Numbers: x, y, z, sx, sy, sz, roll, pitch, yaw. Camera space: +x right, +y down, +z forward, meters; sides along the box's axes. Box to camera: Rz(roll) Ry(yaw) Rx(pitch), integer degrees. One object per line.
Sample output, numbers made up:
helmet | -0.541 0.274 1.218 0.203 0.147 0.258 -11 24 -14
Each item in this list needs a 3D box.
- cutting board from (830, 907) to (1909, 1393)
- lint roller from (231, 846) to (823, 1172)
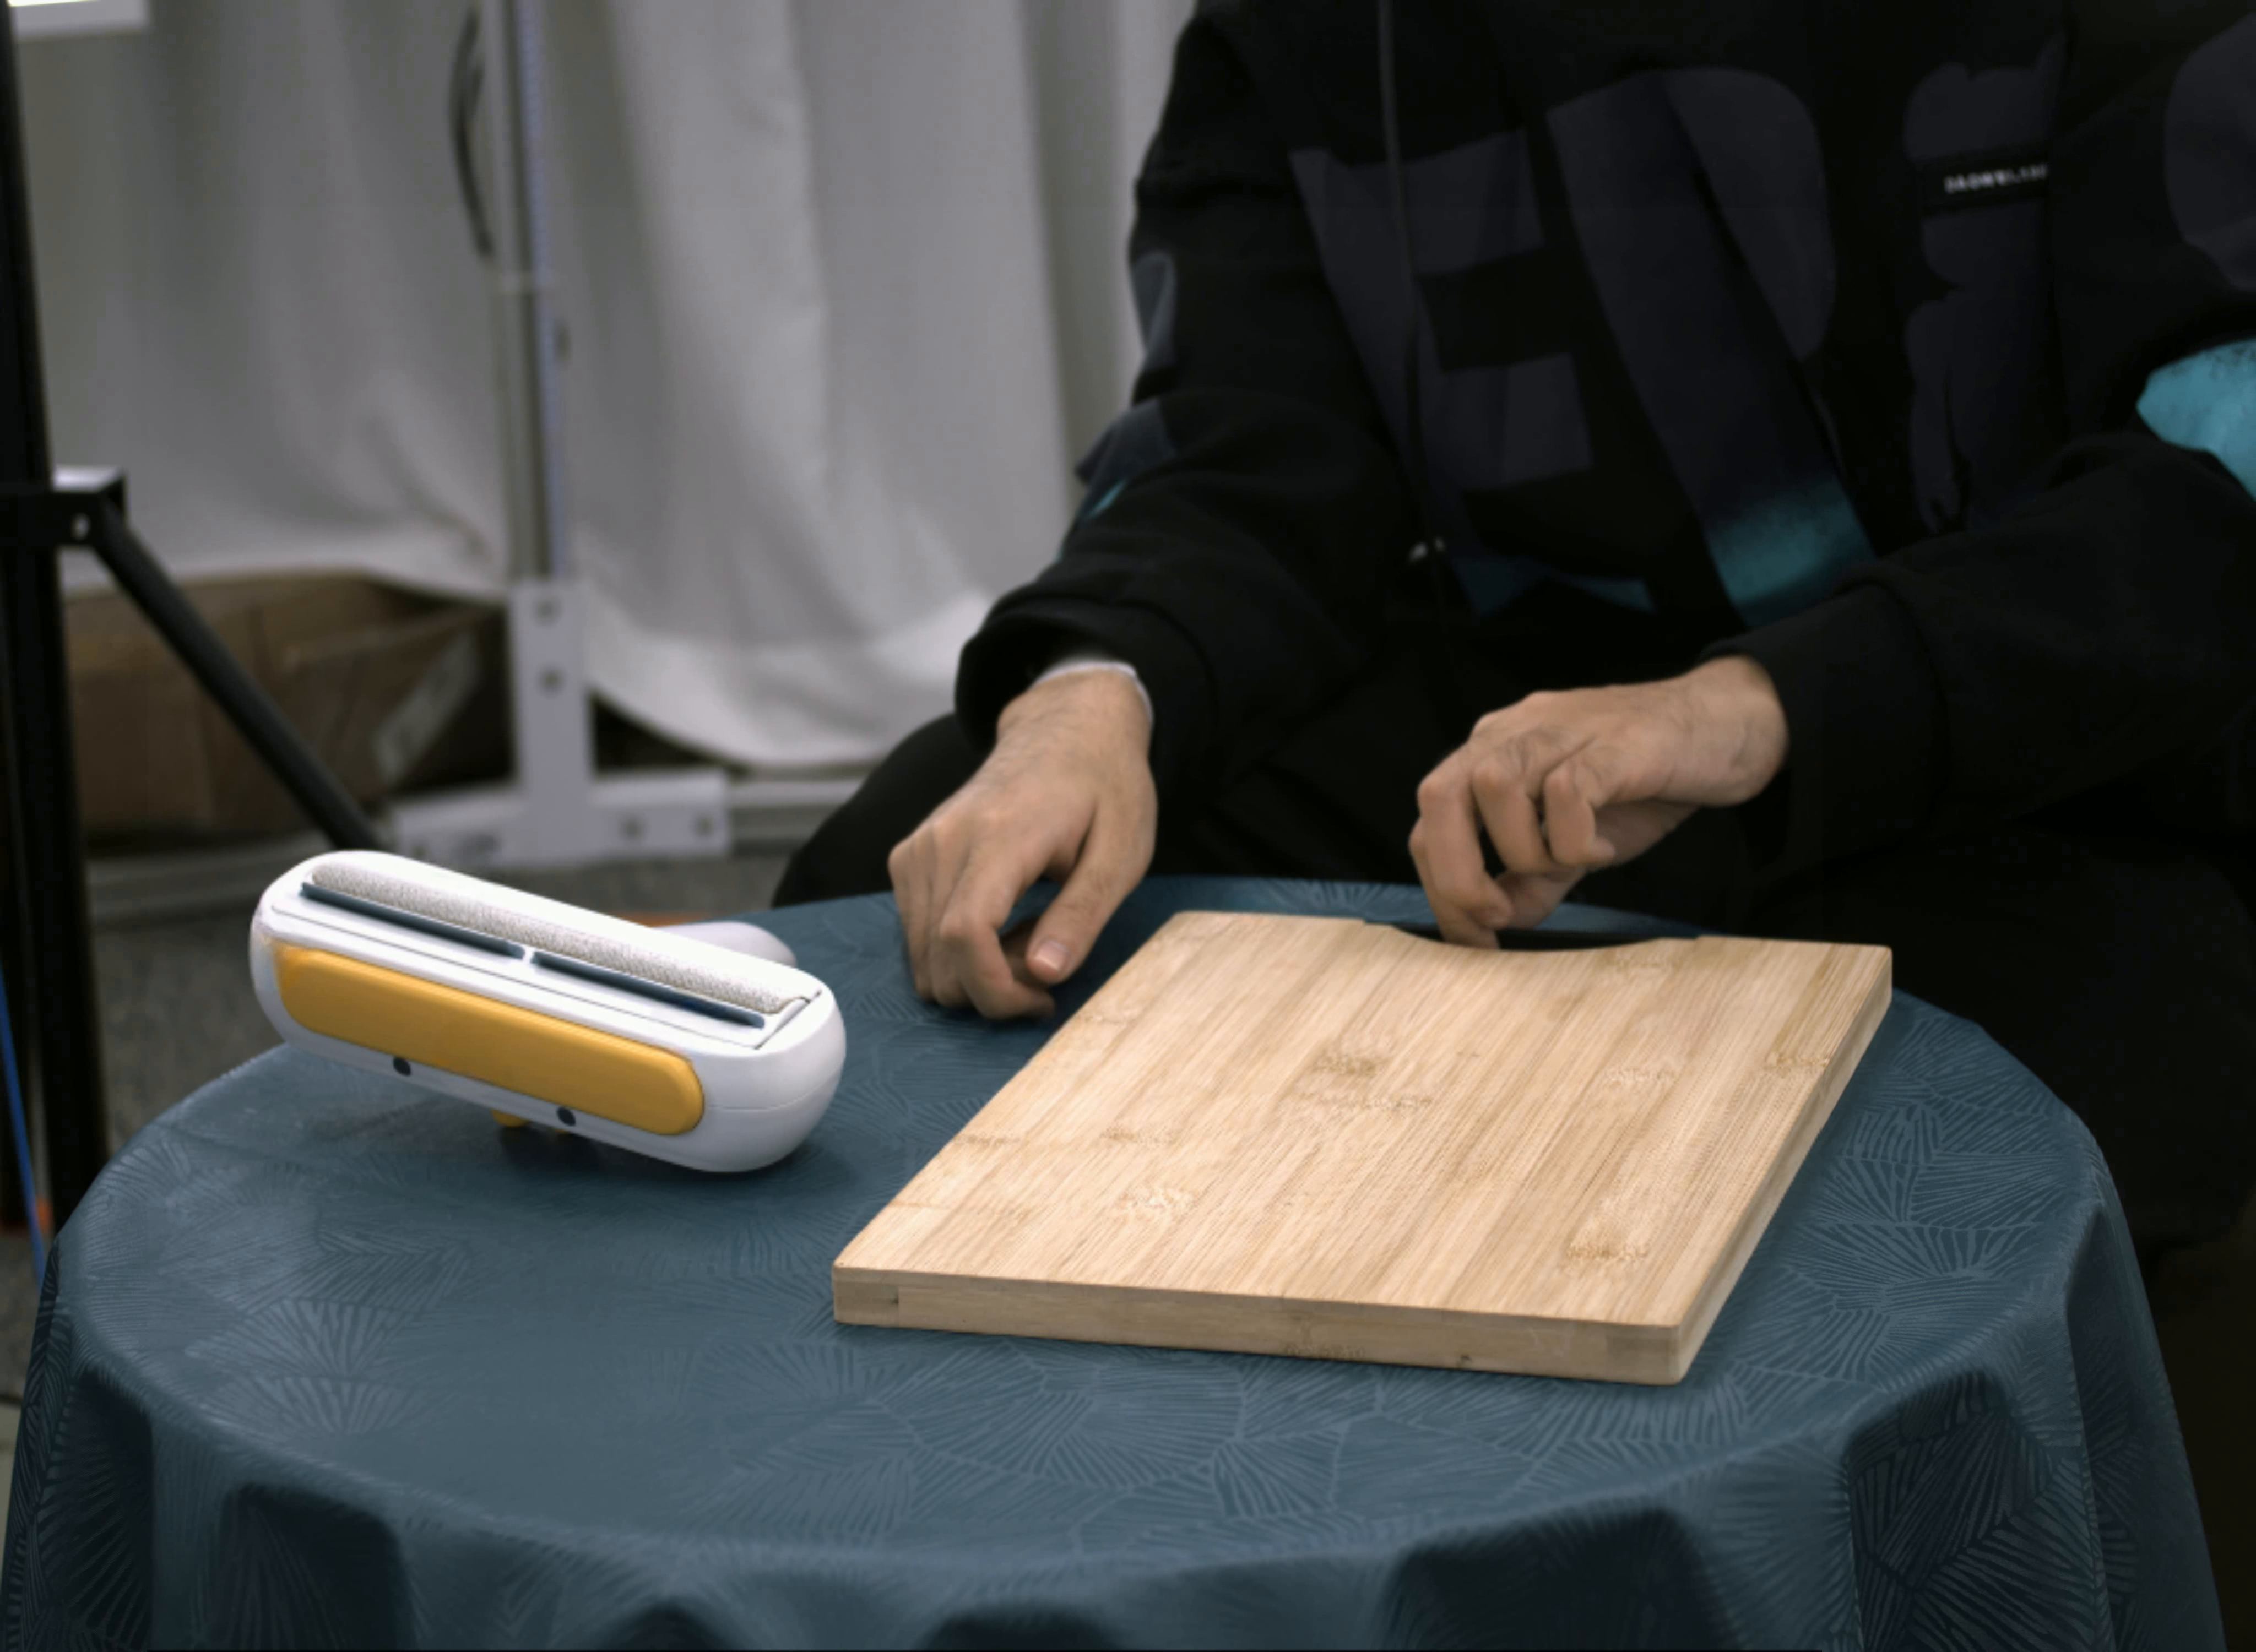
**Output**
cutting board | 0.083 0.088 1.584 0.253 0.023 0.345 2 17 17
lint roller | -0.158 0.048 1.676 0.196 0.074 0.189 11 19 27
